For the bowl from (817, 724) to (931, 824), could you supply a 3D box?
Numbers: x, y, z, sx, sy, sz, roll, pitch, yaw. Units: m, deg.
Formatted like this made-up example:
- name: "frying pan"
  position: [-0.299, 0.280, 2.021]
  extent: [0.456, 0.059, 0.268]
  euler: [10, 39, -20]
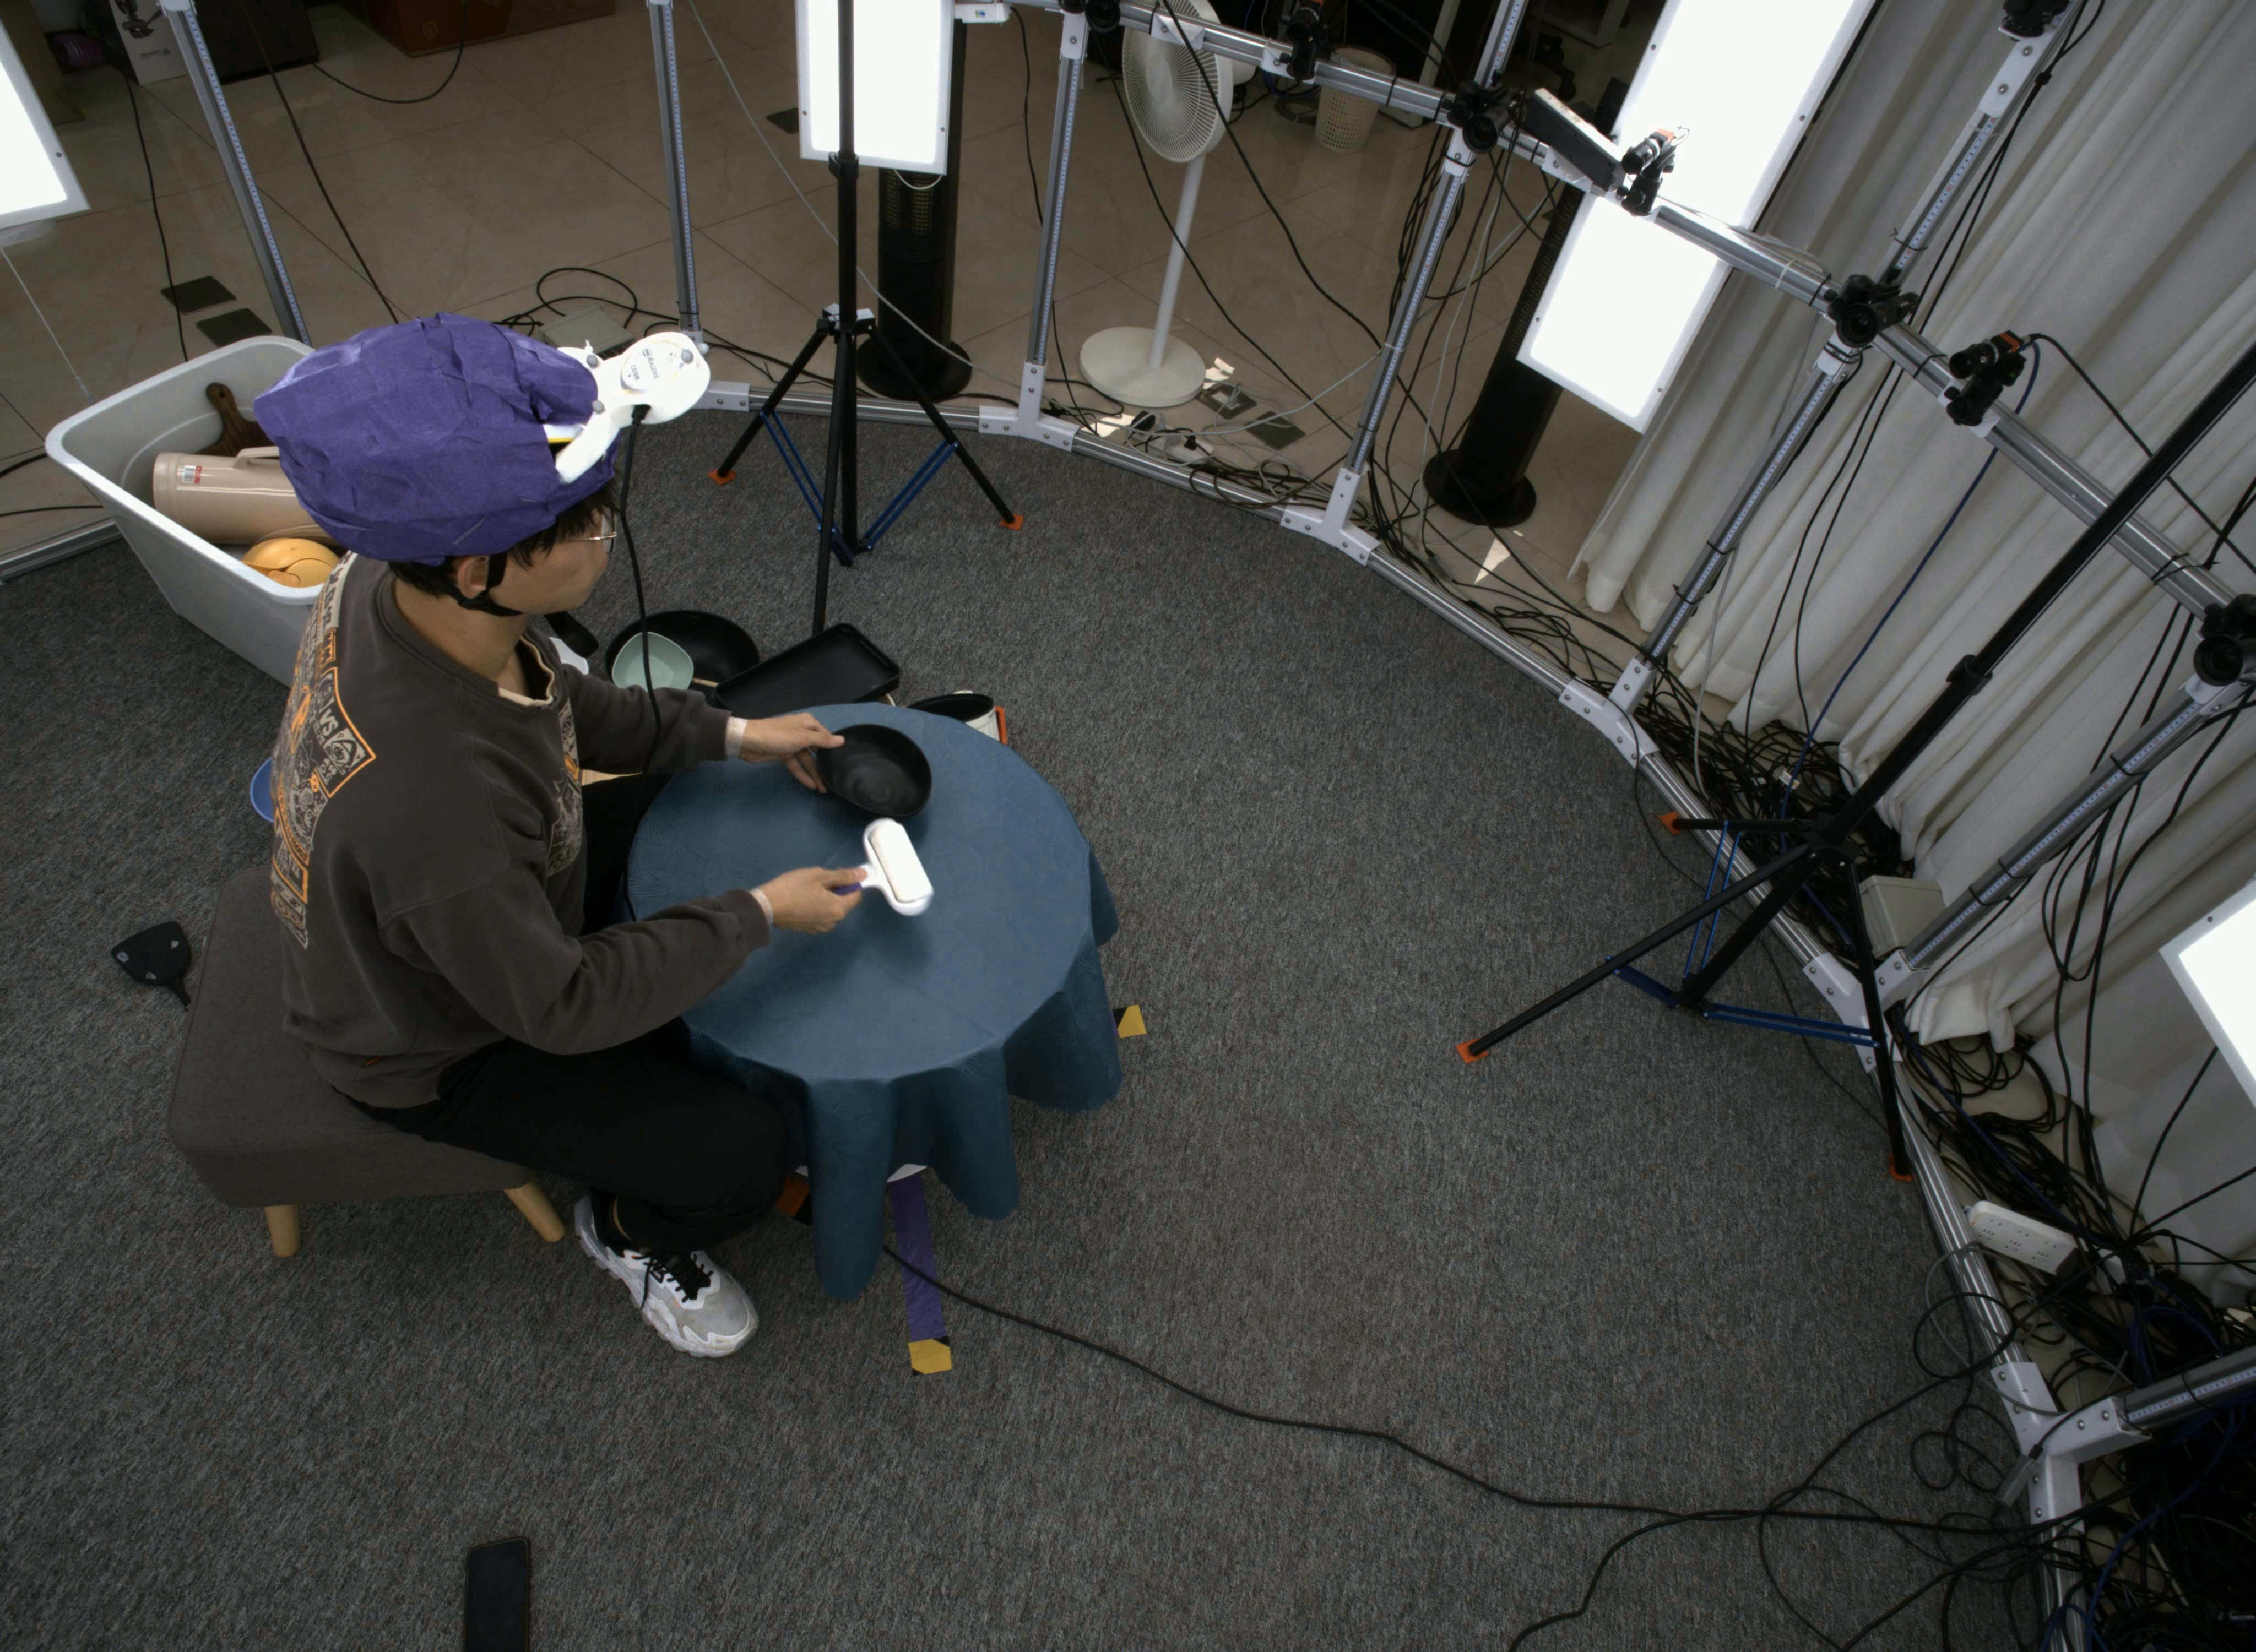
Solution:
- name: "bowl"
  position: [-0.343, -0.061, 1.763]
  extent: [0.167, 0.068, 0.137]
  euler: [37, 56, 12]

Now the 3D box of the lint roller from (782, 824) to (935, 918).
- name: "lint roller"
  position: [-0.337, 0.063, 1.600]
  extent: [0.183, 0.051, 0.130]
  euler: [-9, 58, -34]
